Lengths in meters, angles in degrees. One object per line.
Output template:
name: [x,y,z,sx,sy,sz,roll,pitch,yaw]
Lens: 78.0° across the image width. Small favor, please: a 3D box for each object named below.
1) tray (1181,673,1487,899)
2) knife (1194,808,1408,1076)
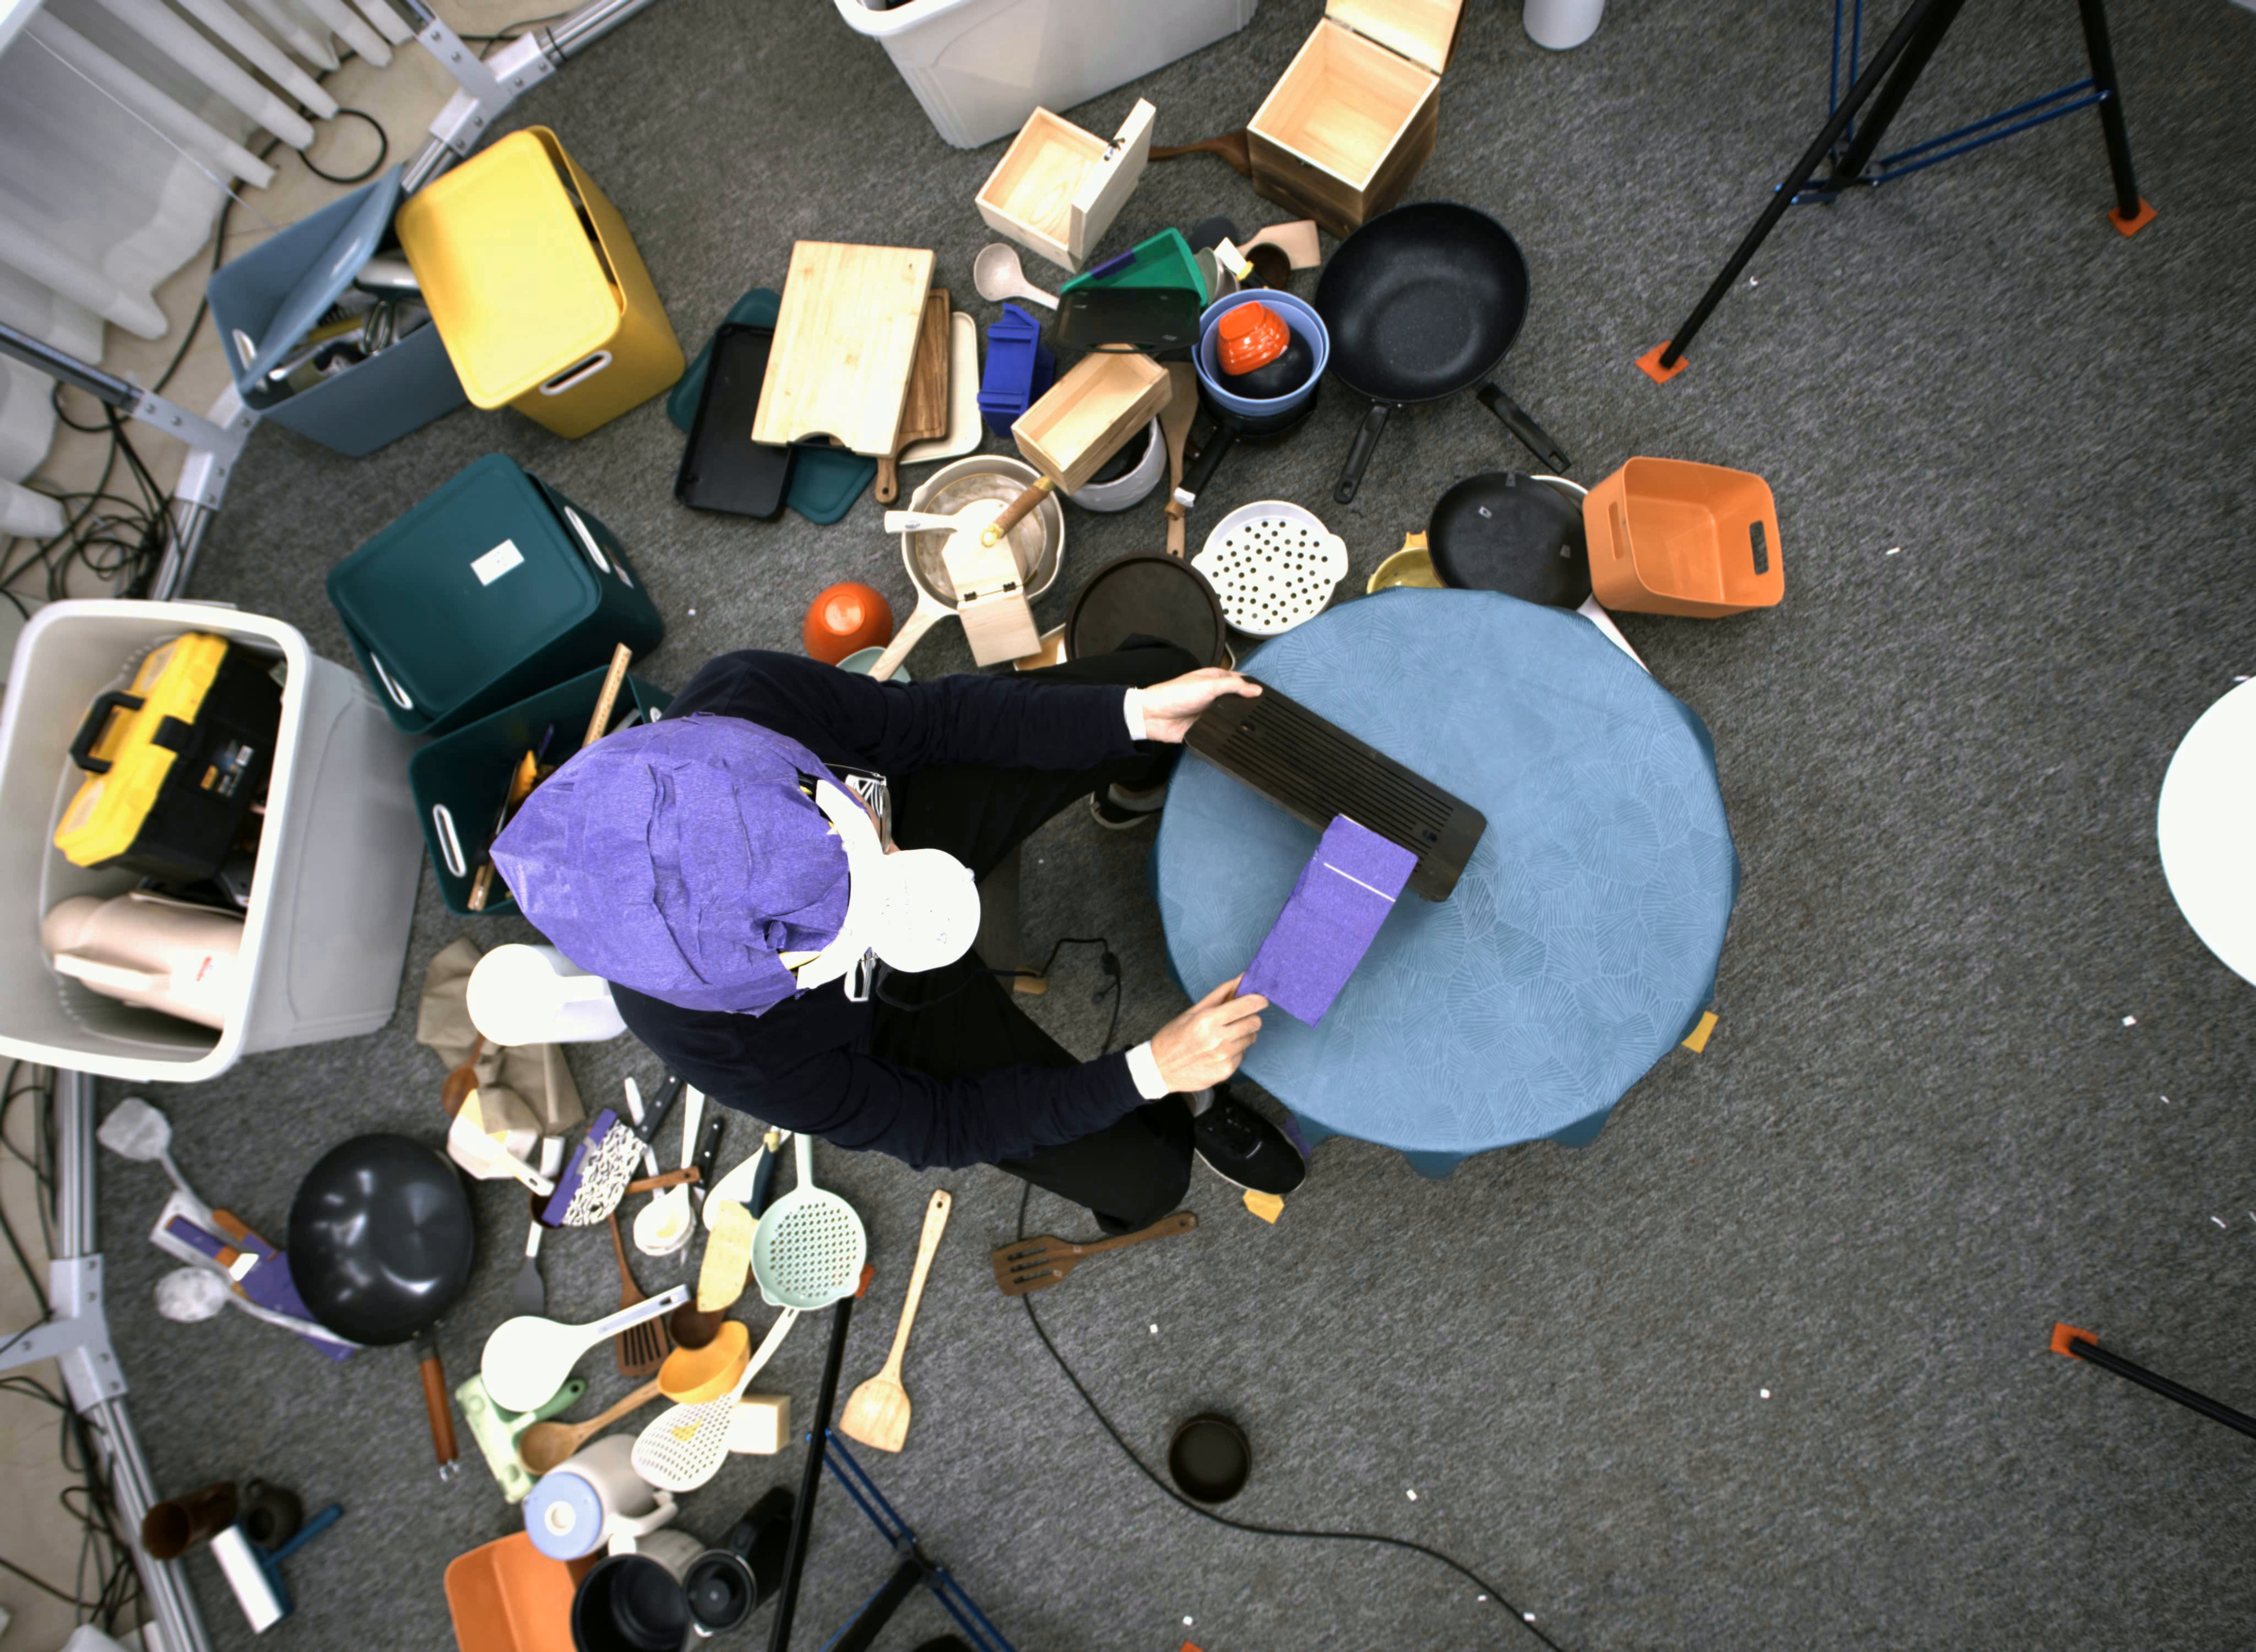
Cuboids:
tray: [0.213,-0.045,1.409,0.305,0.166,0.019,32,132,9]
knife: [0.170,0.136,1.376,0.104,0.031,0.321,30,114,8]
